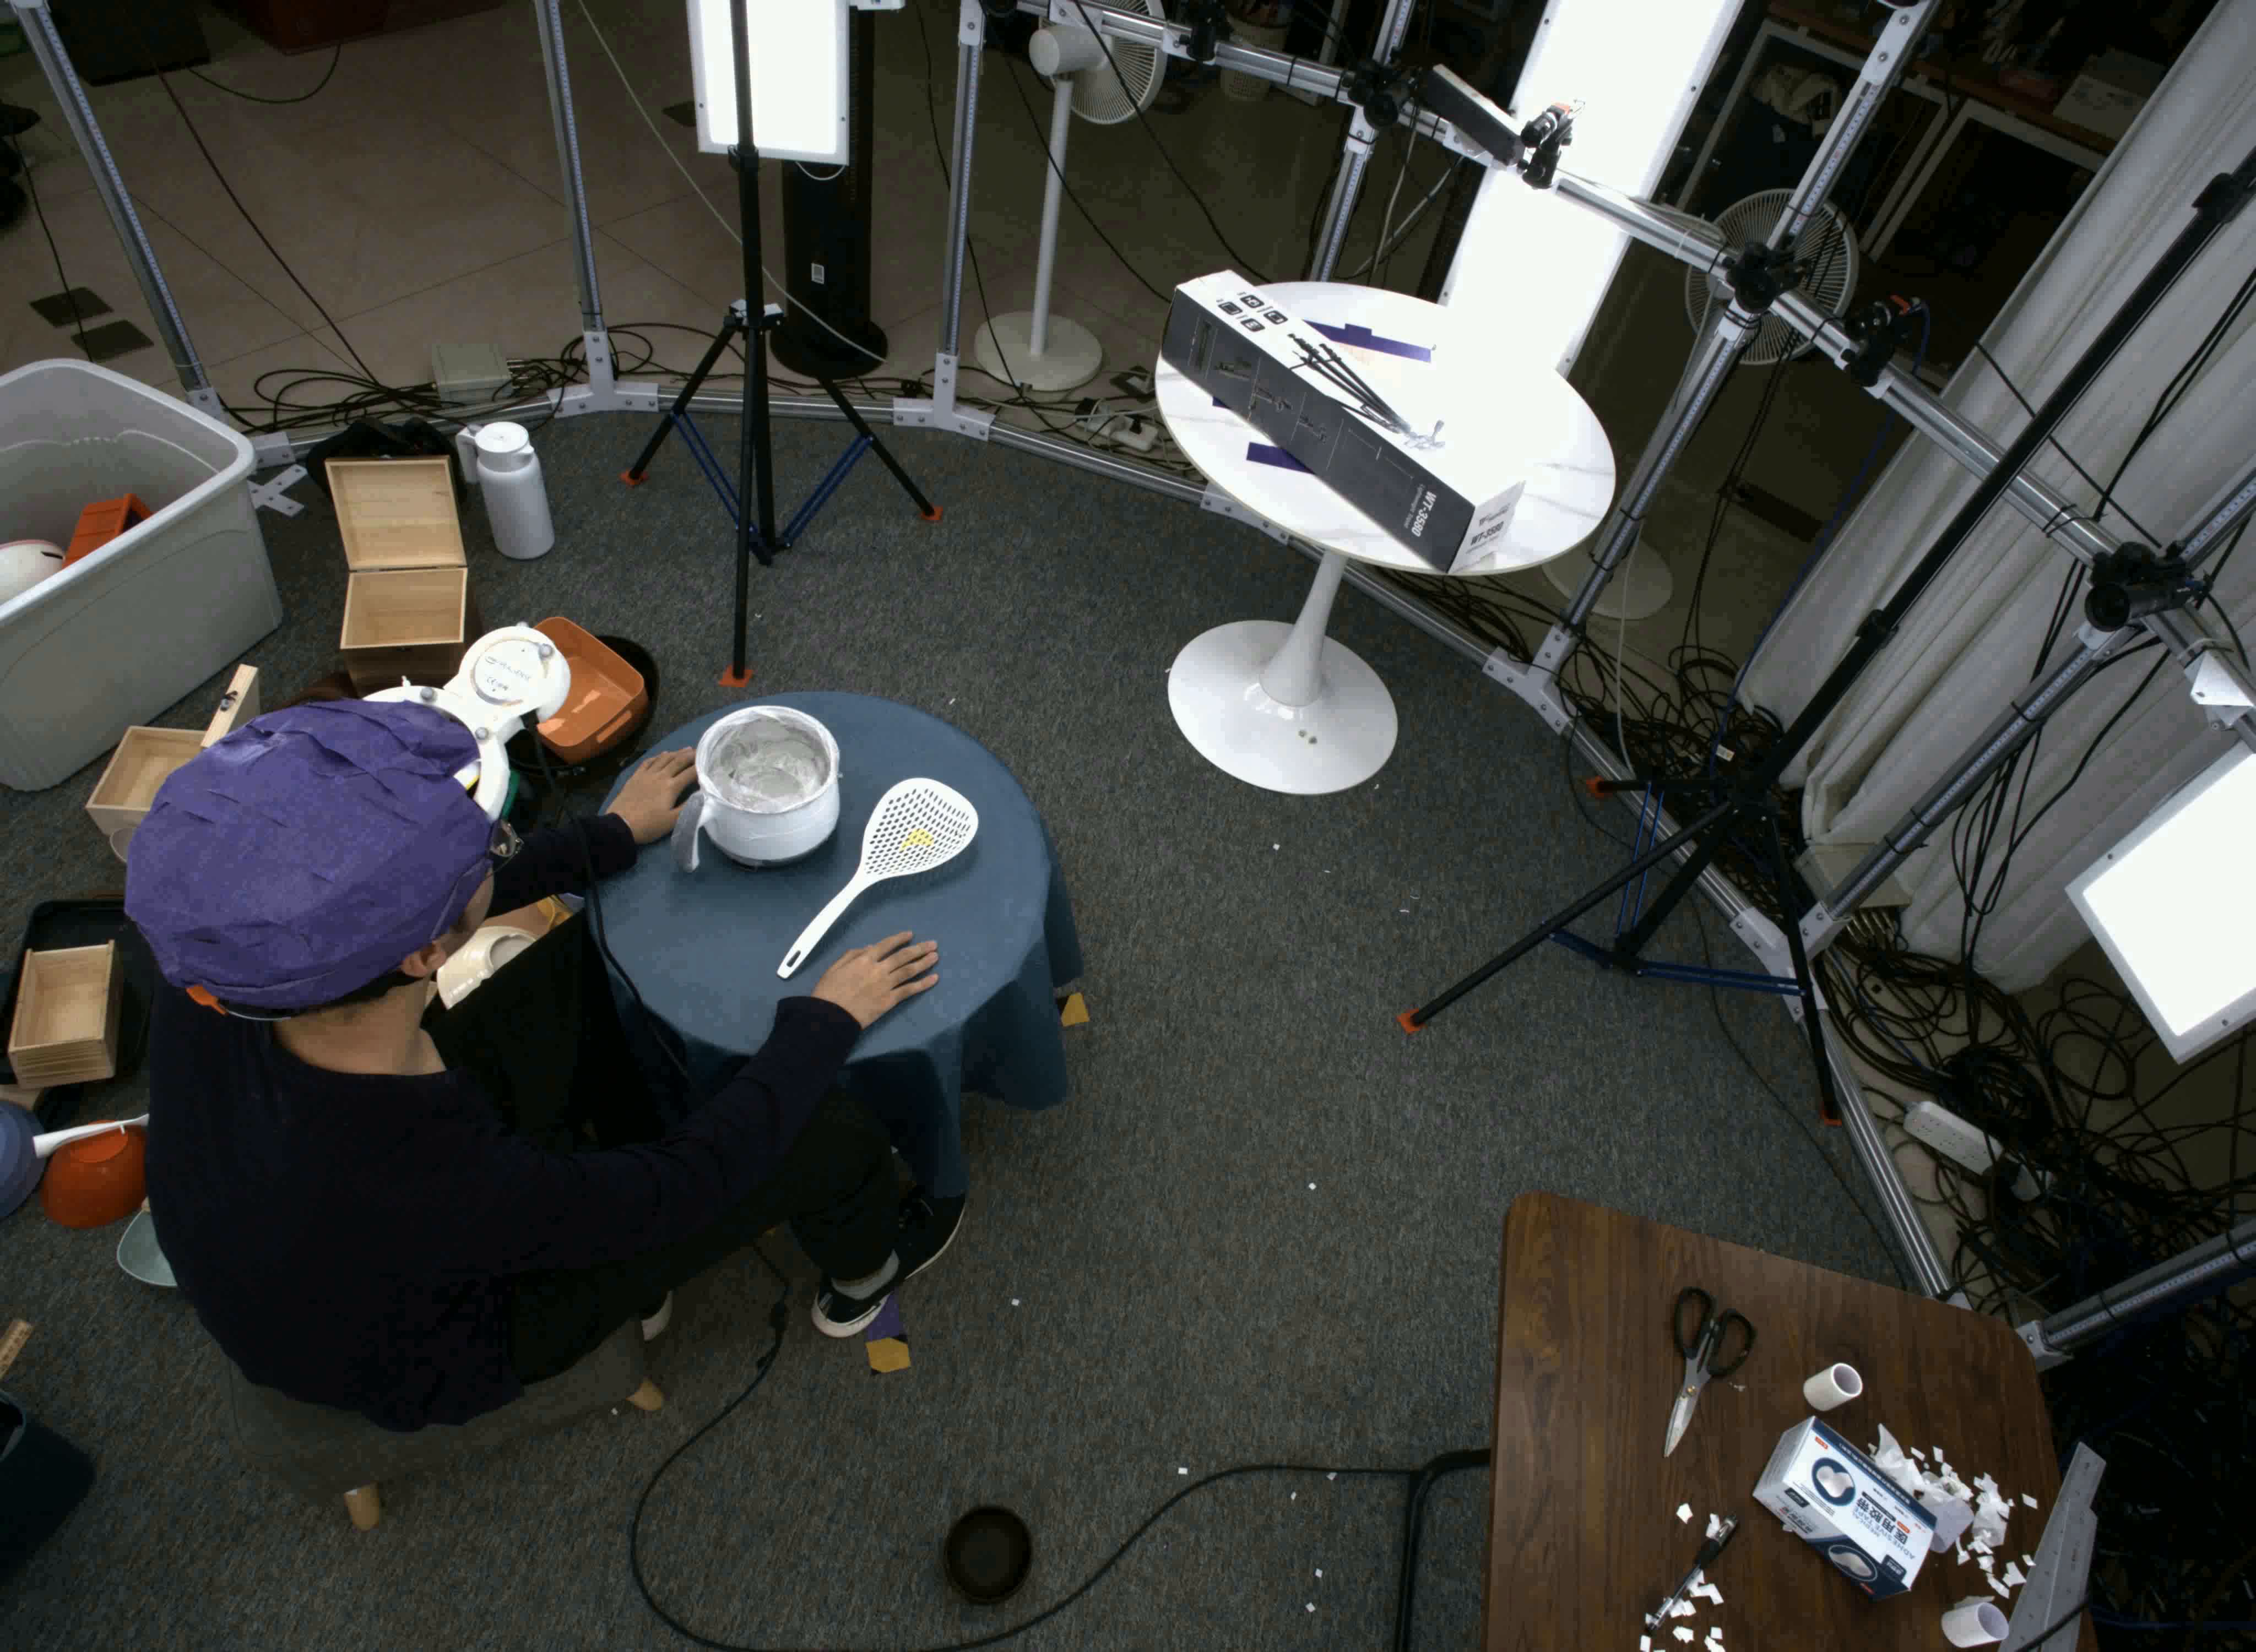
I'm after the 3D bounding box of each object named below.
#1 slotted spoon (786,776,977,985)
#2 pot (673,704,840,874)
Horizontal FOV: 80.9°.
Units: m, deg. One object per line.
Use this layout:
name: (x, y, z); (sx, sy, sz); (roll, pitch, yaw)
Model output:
slotted spoon: (-0.331, 0.067, 1.681); (0.134, 0.051, 0.347); (32, 52, 10)
pot: (-0.482, -0.034, 1.658); (0.174, 0.140, 0.234); (38, 54, 19)
